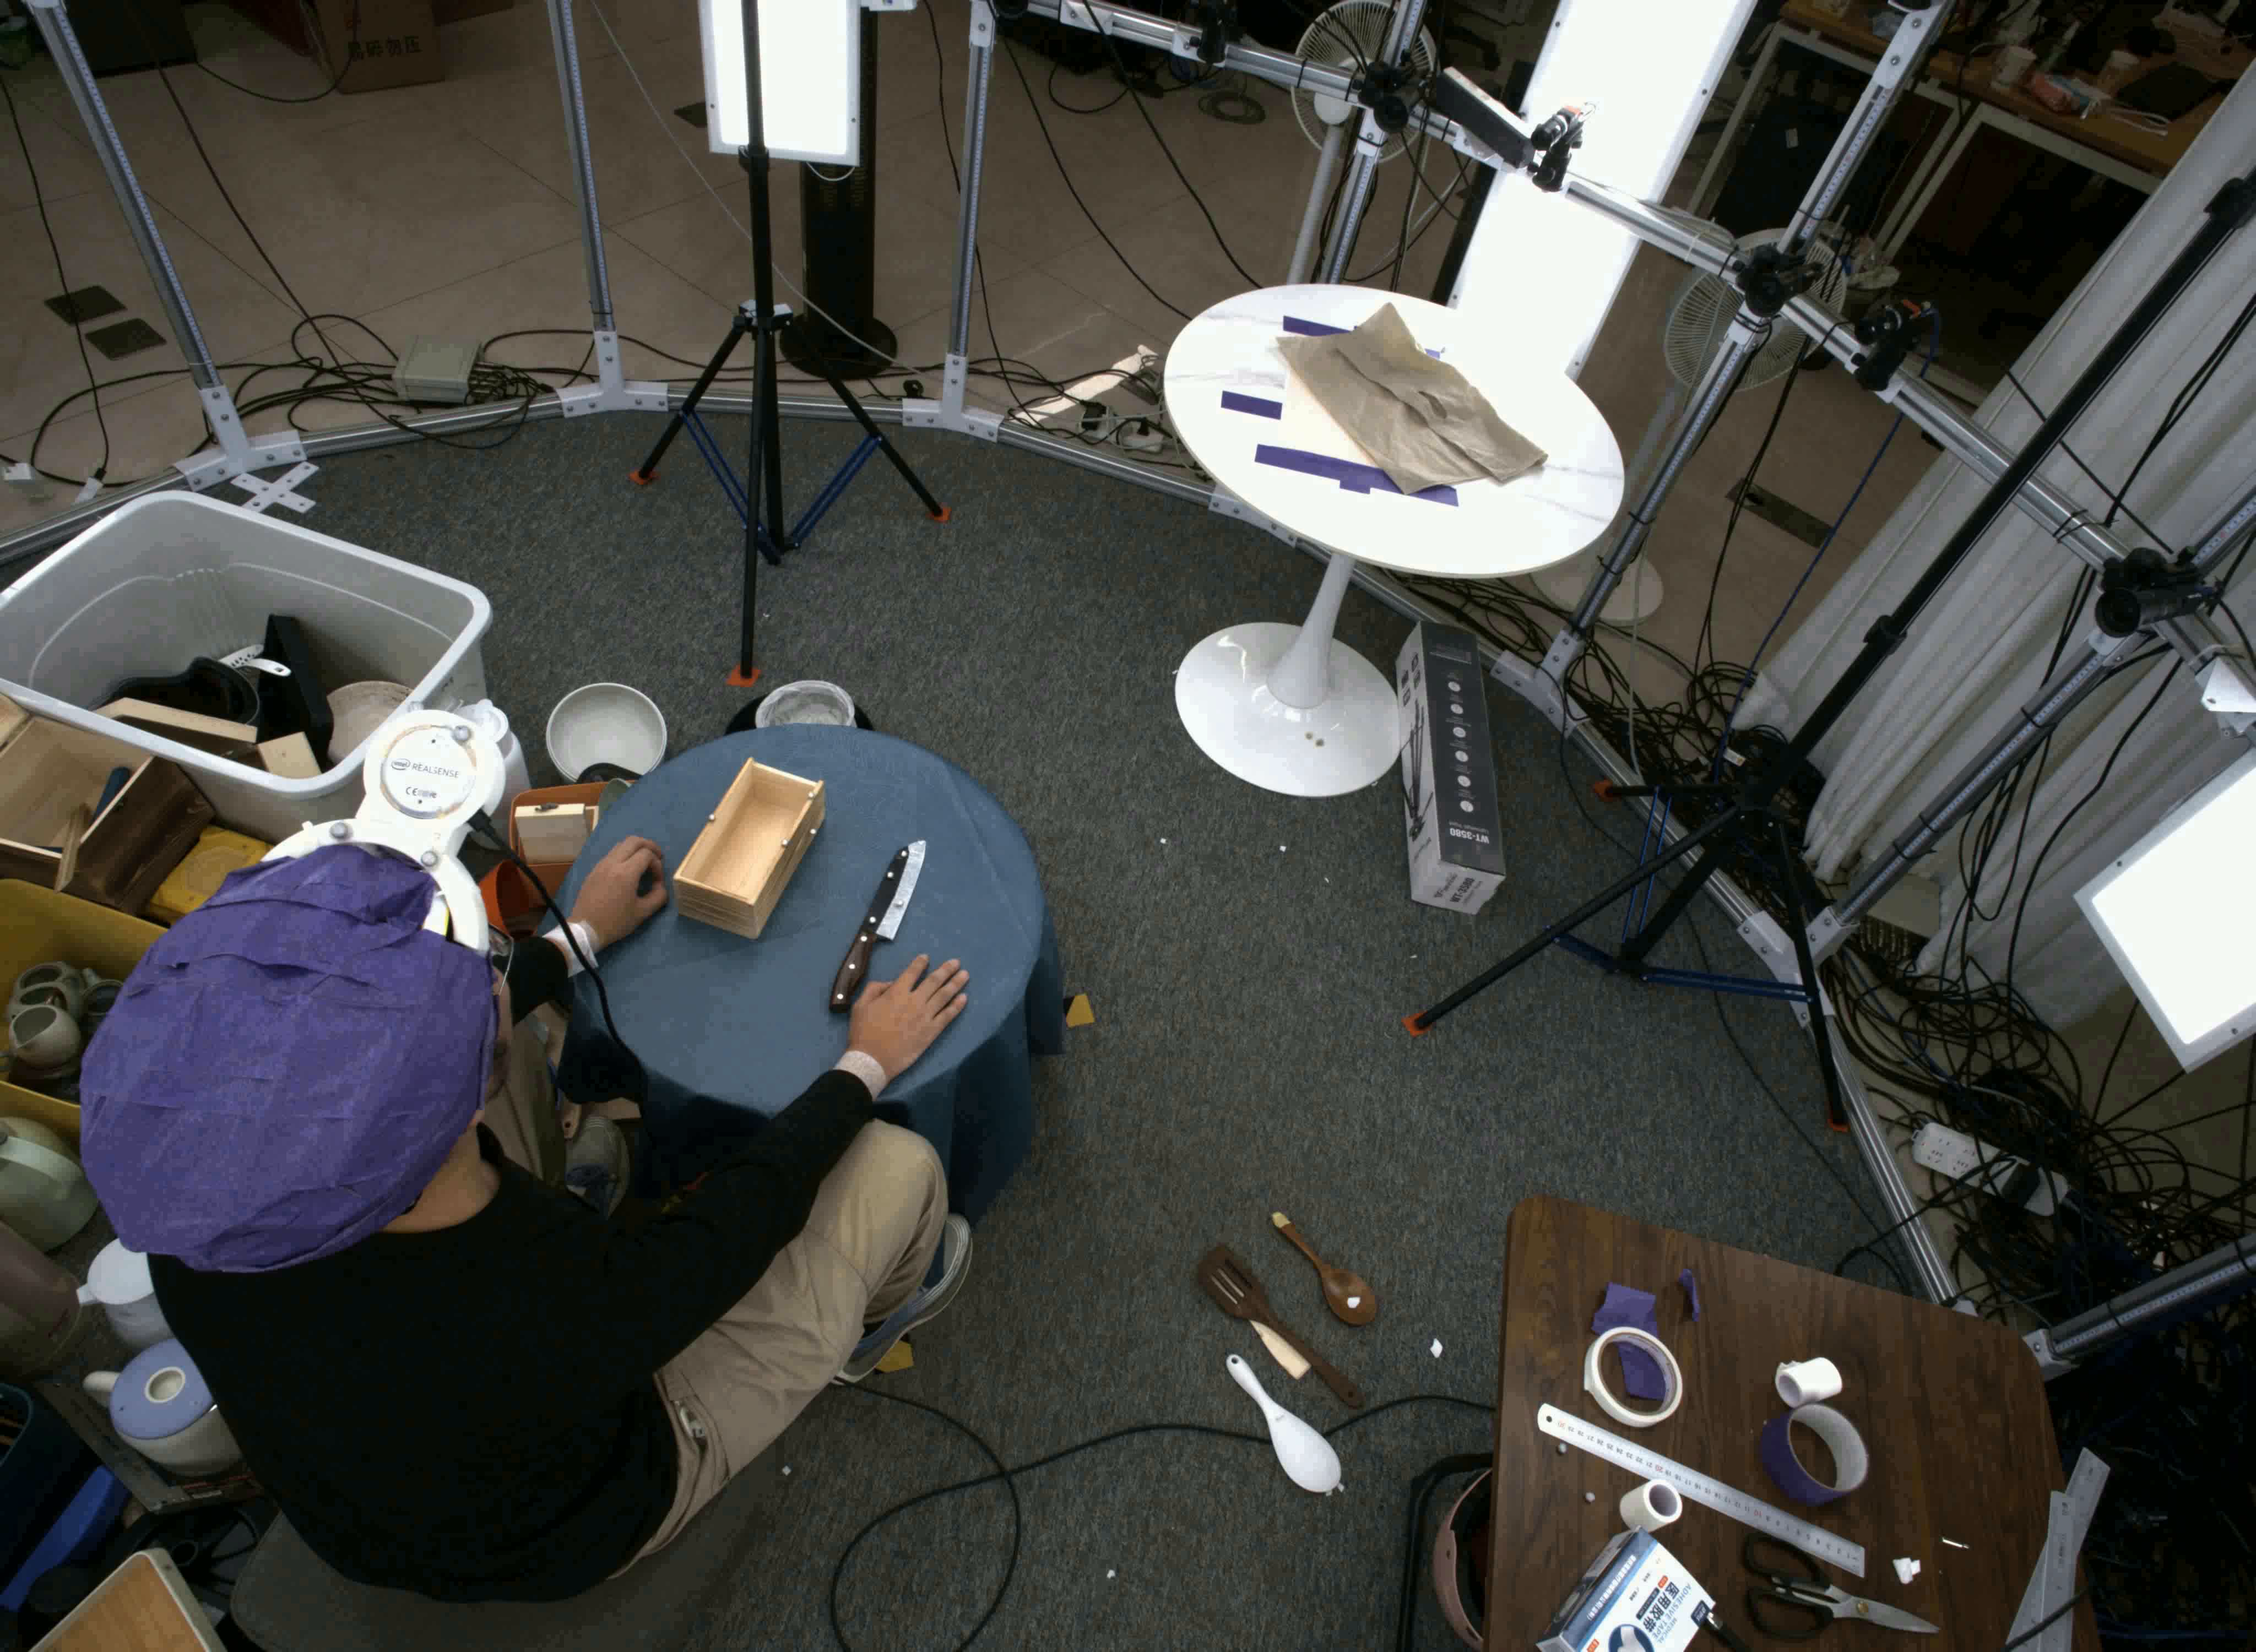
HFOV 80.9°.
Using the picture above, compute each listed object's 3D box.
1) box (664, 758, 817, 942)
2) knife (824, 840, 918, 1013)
[{"bbox_3d":[-0.485,0.026,1.632,0.106,0.082,0.209,18,51,1],"label":"box"},{"bbox_3d":[-0.322,0.118,1.648,0.050,0.020,0.286,22,49,-3],"label":"knife"}]
